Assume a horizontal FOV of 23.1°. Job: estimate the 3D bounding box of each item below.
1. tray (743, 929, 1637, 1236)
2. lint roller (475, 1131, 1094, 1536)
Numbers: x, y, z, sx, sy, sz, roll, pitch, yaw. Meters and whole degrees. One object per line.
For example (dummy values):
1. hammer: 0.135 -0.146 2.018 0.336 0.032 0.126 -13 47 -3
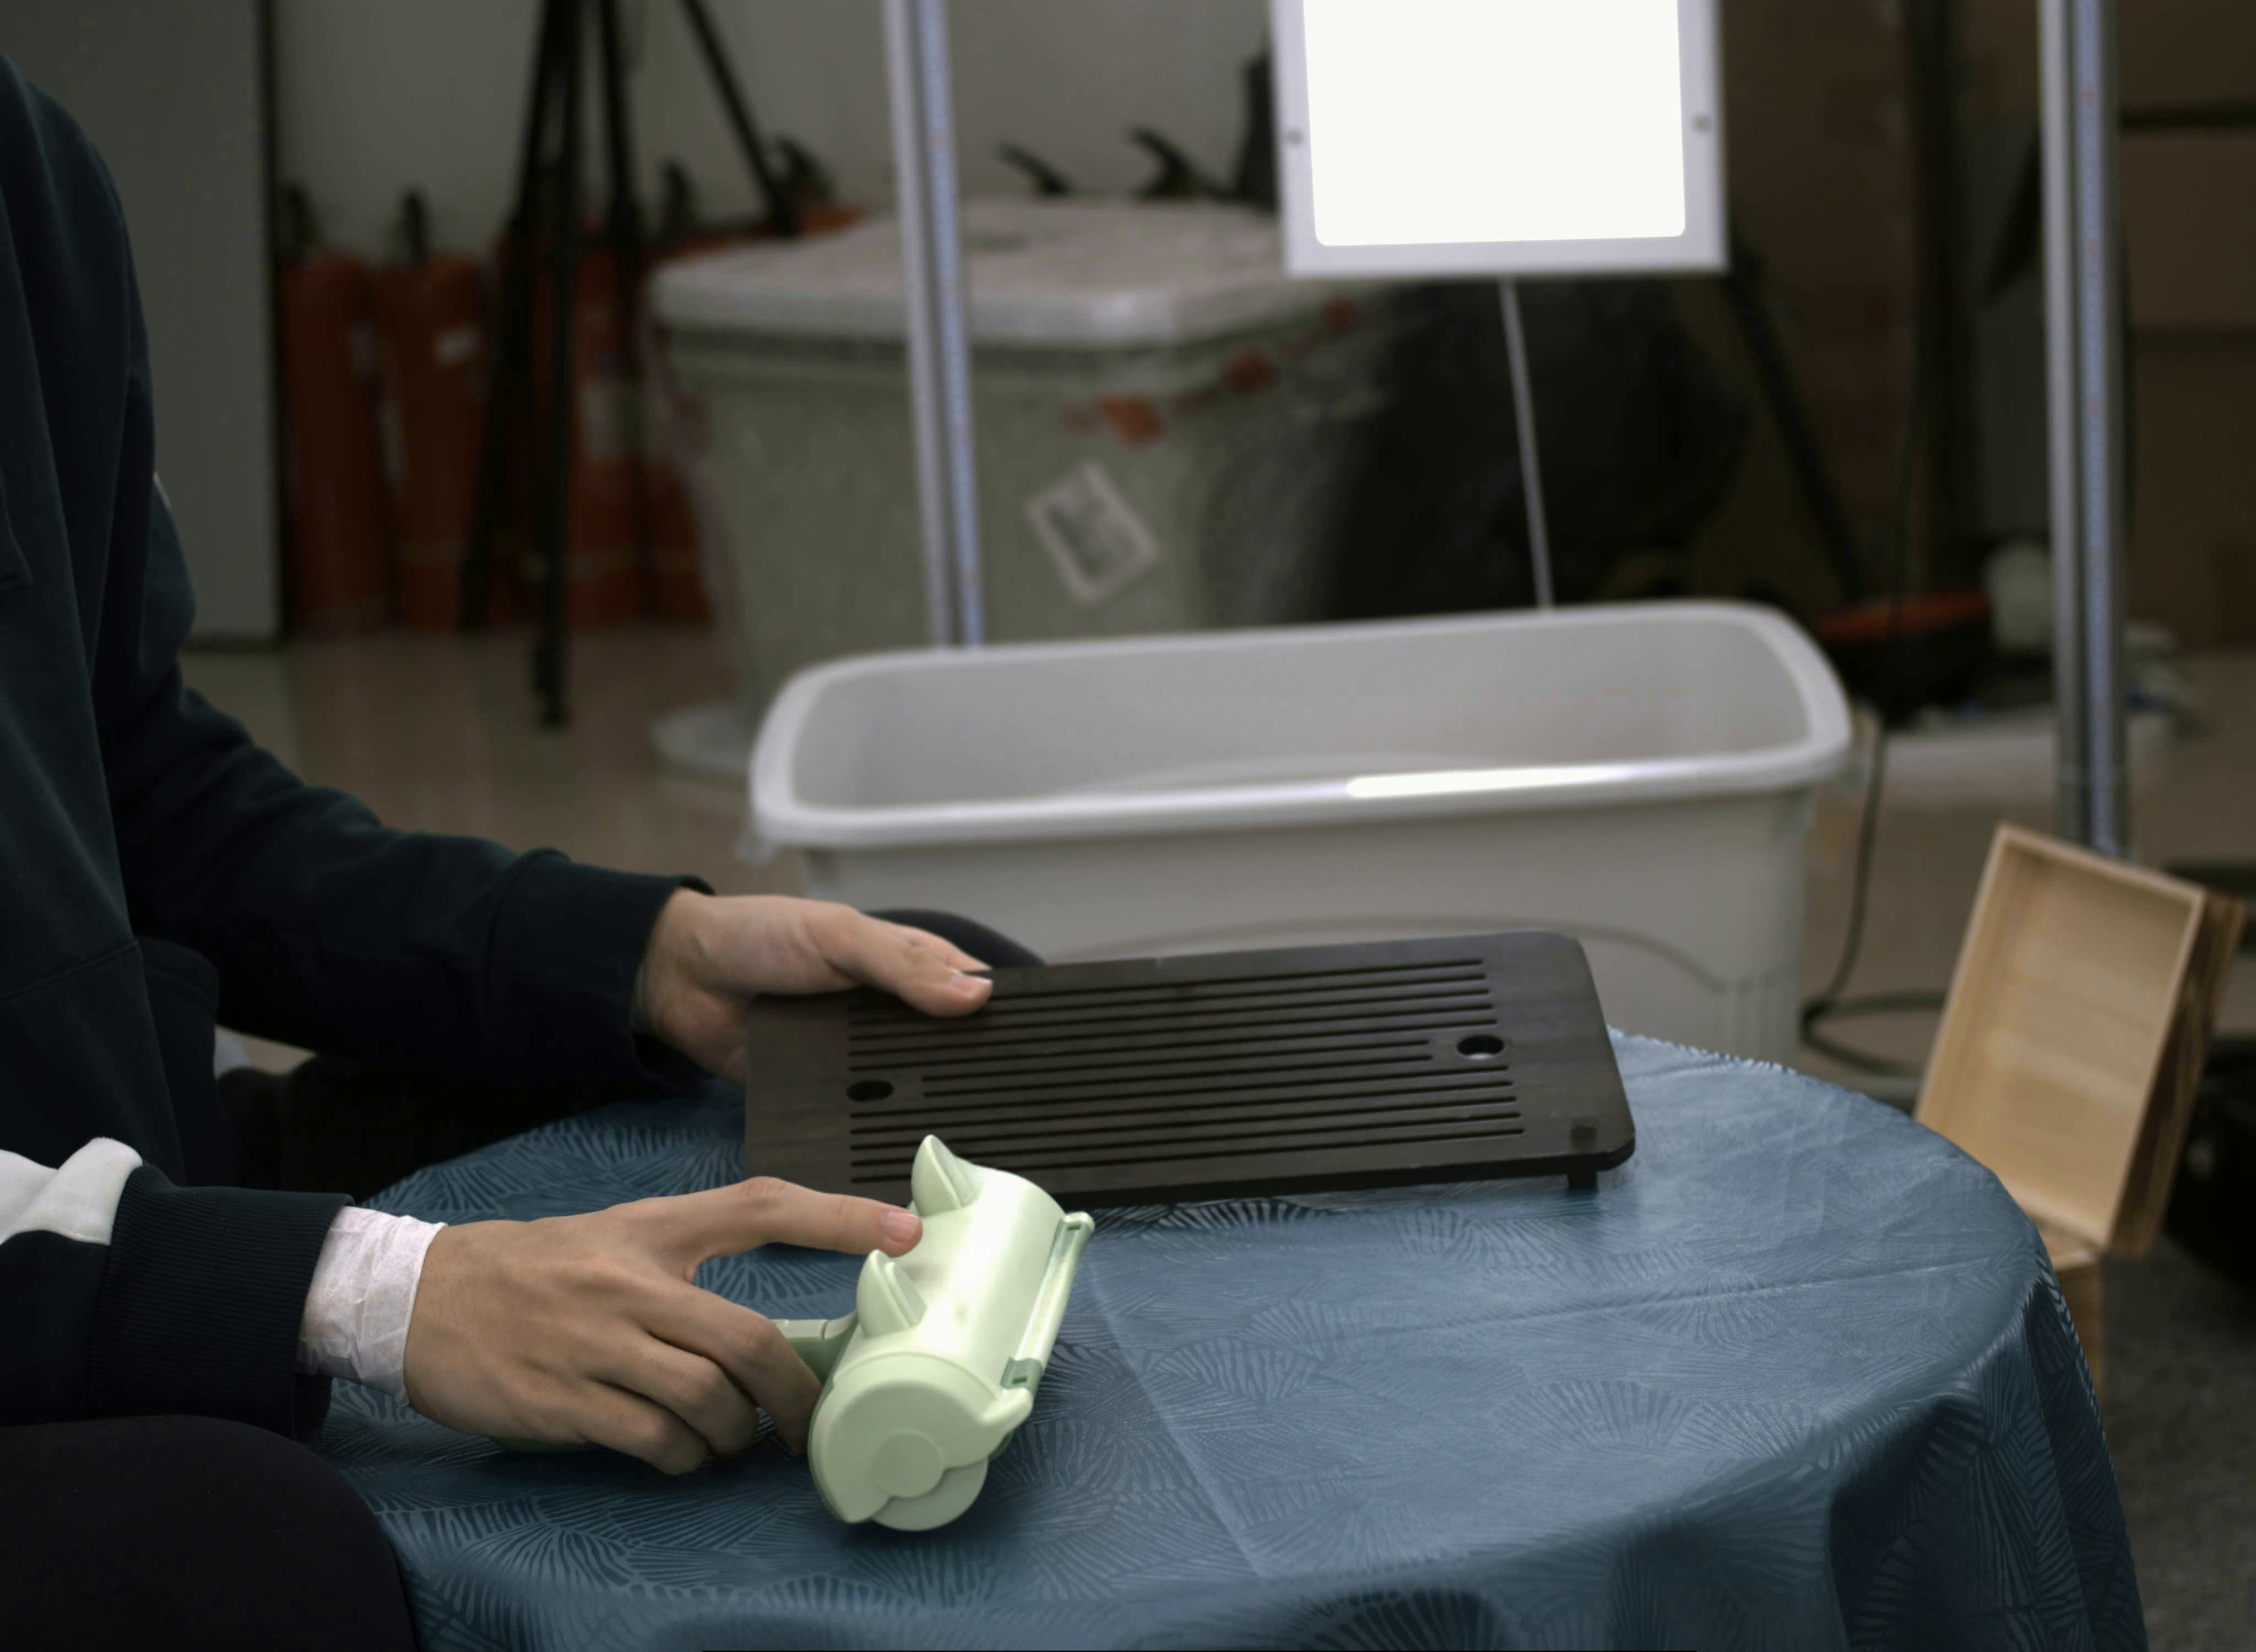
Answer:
1. tray: 0.018 0.090 1.930 0.305 0.019 0.170 -5 25 1
2. lint roller: -0.110 0.149 1.674 0.184 0.082 0.197 0 15 7
